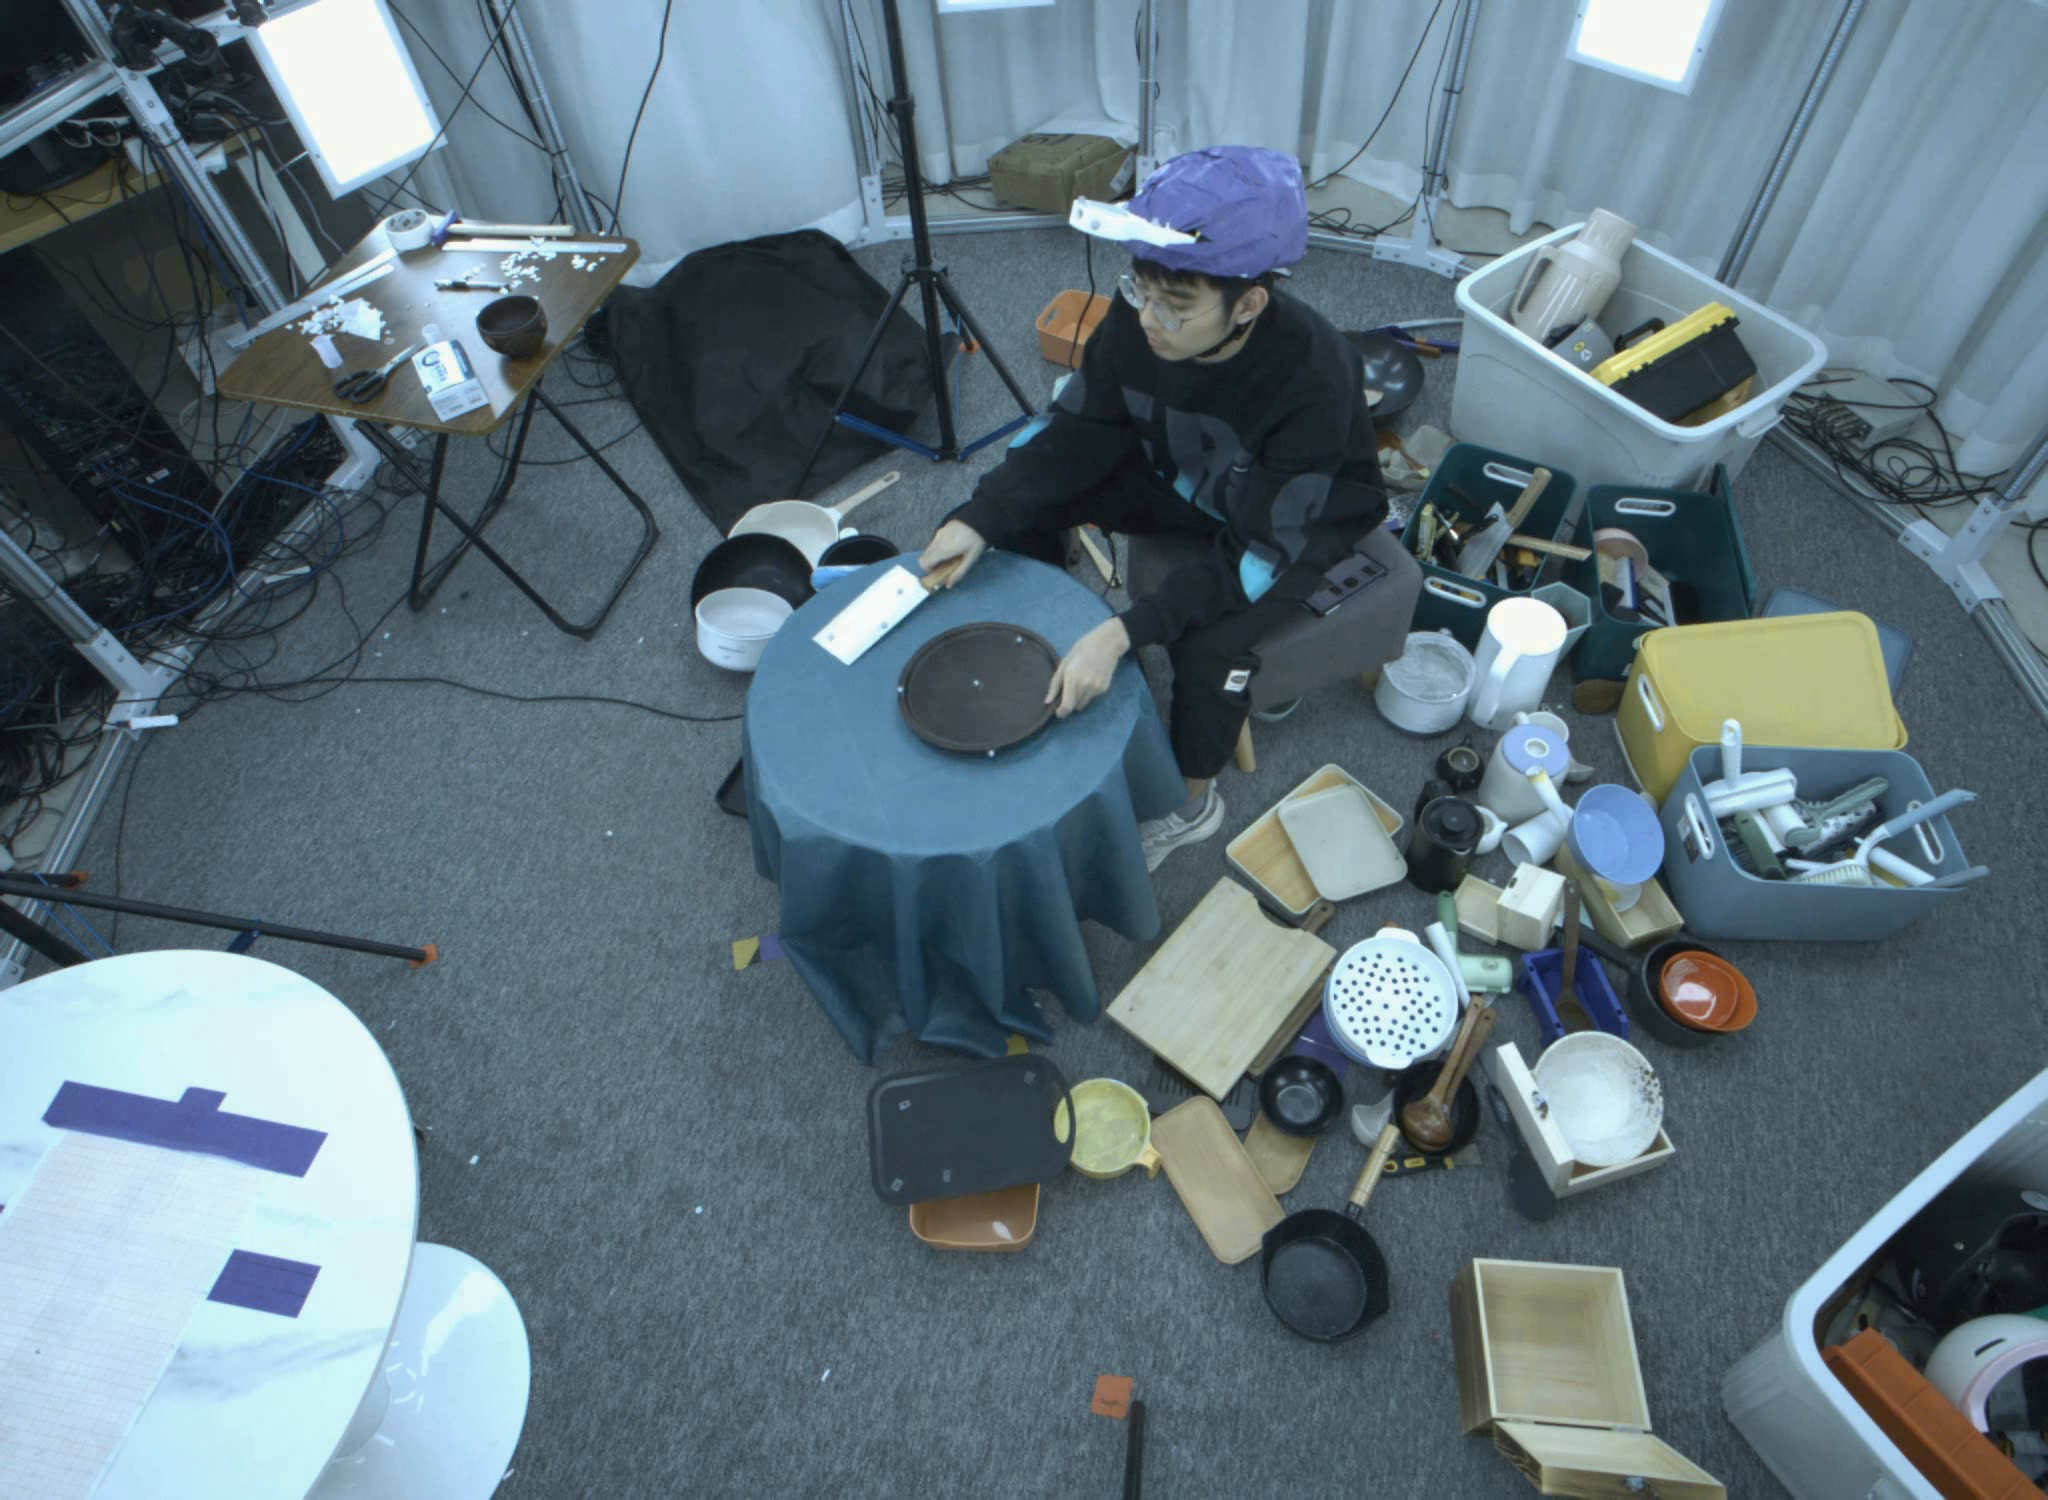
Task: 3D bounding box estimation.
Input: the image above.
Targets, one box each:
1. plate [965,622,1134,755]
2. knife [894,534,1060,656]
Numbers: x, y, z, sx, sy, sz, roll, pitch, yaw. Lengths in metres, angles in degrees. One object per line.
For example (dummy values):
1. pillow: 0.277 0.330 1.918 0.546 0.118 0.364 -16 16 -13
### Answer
1. plate: 0.038 -0.093 1.832 0.254 0.029 0.252 -3 53 5
2. knife: -0.078 -0.261 1.955 0.307 0.021 0.091 -40 61 -17
